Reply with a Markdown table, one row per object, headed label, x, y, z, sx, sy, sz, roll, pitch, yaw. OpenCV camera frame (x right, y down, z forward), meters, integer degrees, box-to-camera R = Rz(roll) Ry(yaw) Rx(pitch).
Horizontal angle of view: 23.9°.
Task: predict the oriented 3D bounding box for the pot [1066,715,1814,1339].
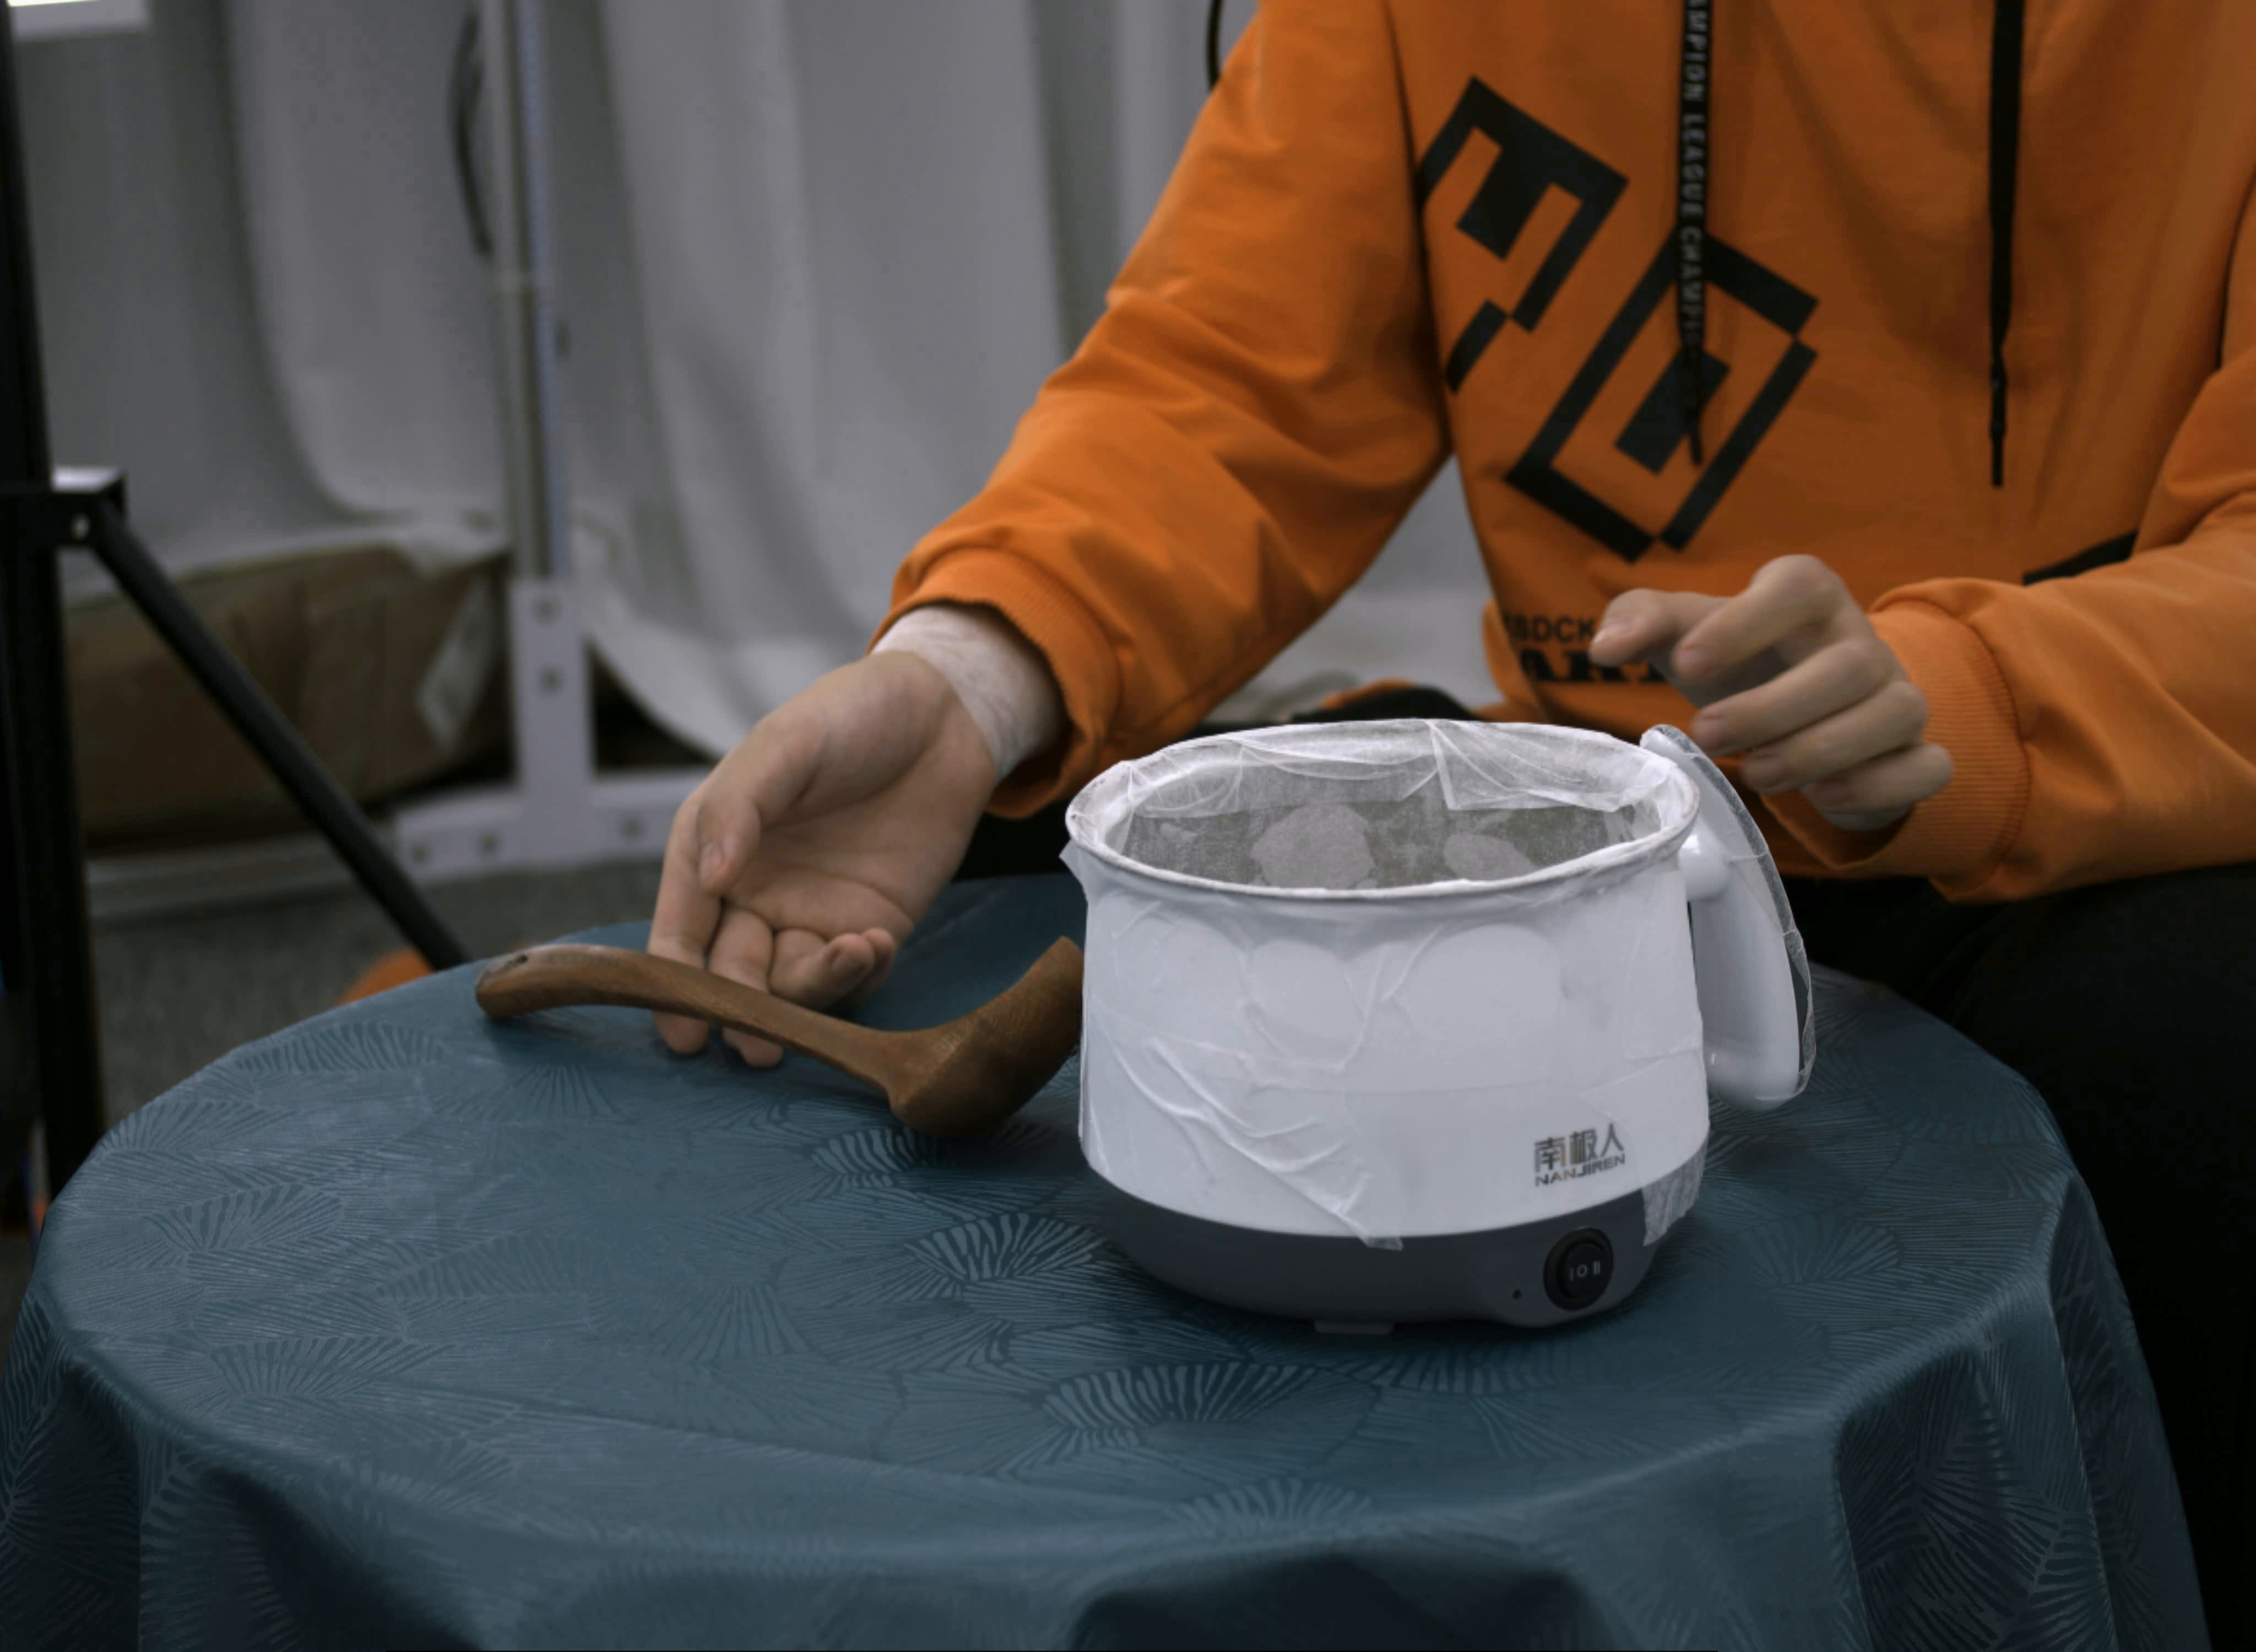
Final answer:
| label | x | y | z | sx | sy | sz | roll | pitch | yaw |
| --- | --- | --- | --- | --- | --- | --- | --- | --- | --- |
| pot | 0.096 | 0.049 | 1.498 | 0.228 | 0.136 | 0.183 | -13 | 19 | -31 |

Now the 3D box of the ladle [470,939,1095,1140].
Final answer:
| label | x | y | z | sx | sy | sz | roll | pitch | yaw |
| --- | --- | --- | --- | --- | --- | --- | --- | --- | --- |
| ladle | -0.116 | 0.051 | 1.665 | 0.266 | 0.064 | 0.075 | 11 | 35 | 39 |
